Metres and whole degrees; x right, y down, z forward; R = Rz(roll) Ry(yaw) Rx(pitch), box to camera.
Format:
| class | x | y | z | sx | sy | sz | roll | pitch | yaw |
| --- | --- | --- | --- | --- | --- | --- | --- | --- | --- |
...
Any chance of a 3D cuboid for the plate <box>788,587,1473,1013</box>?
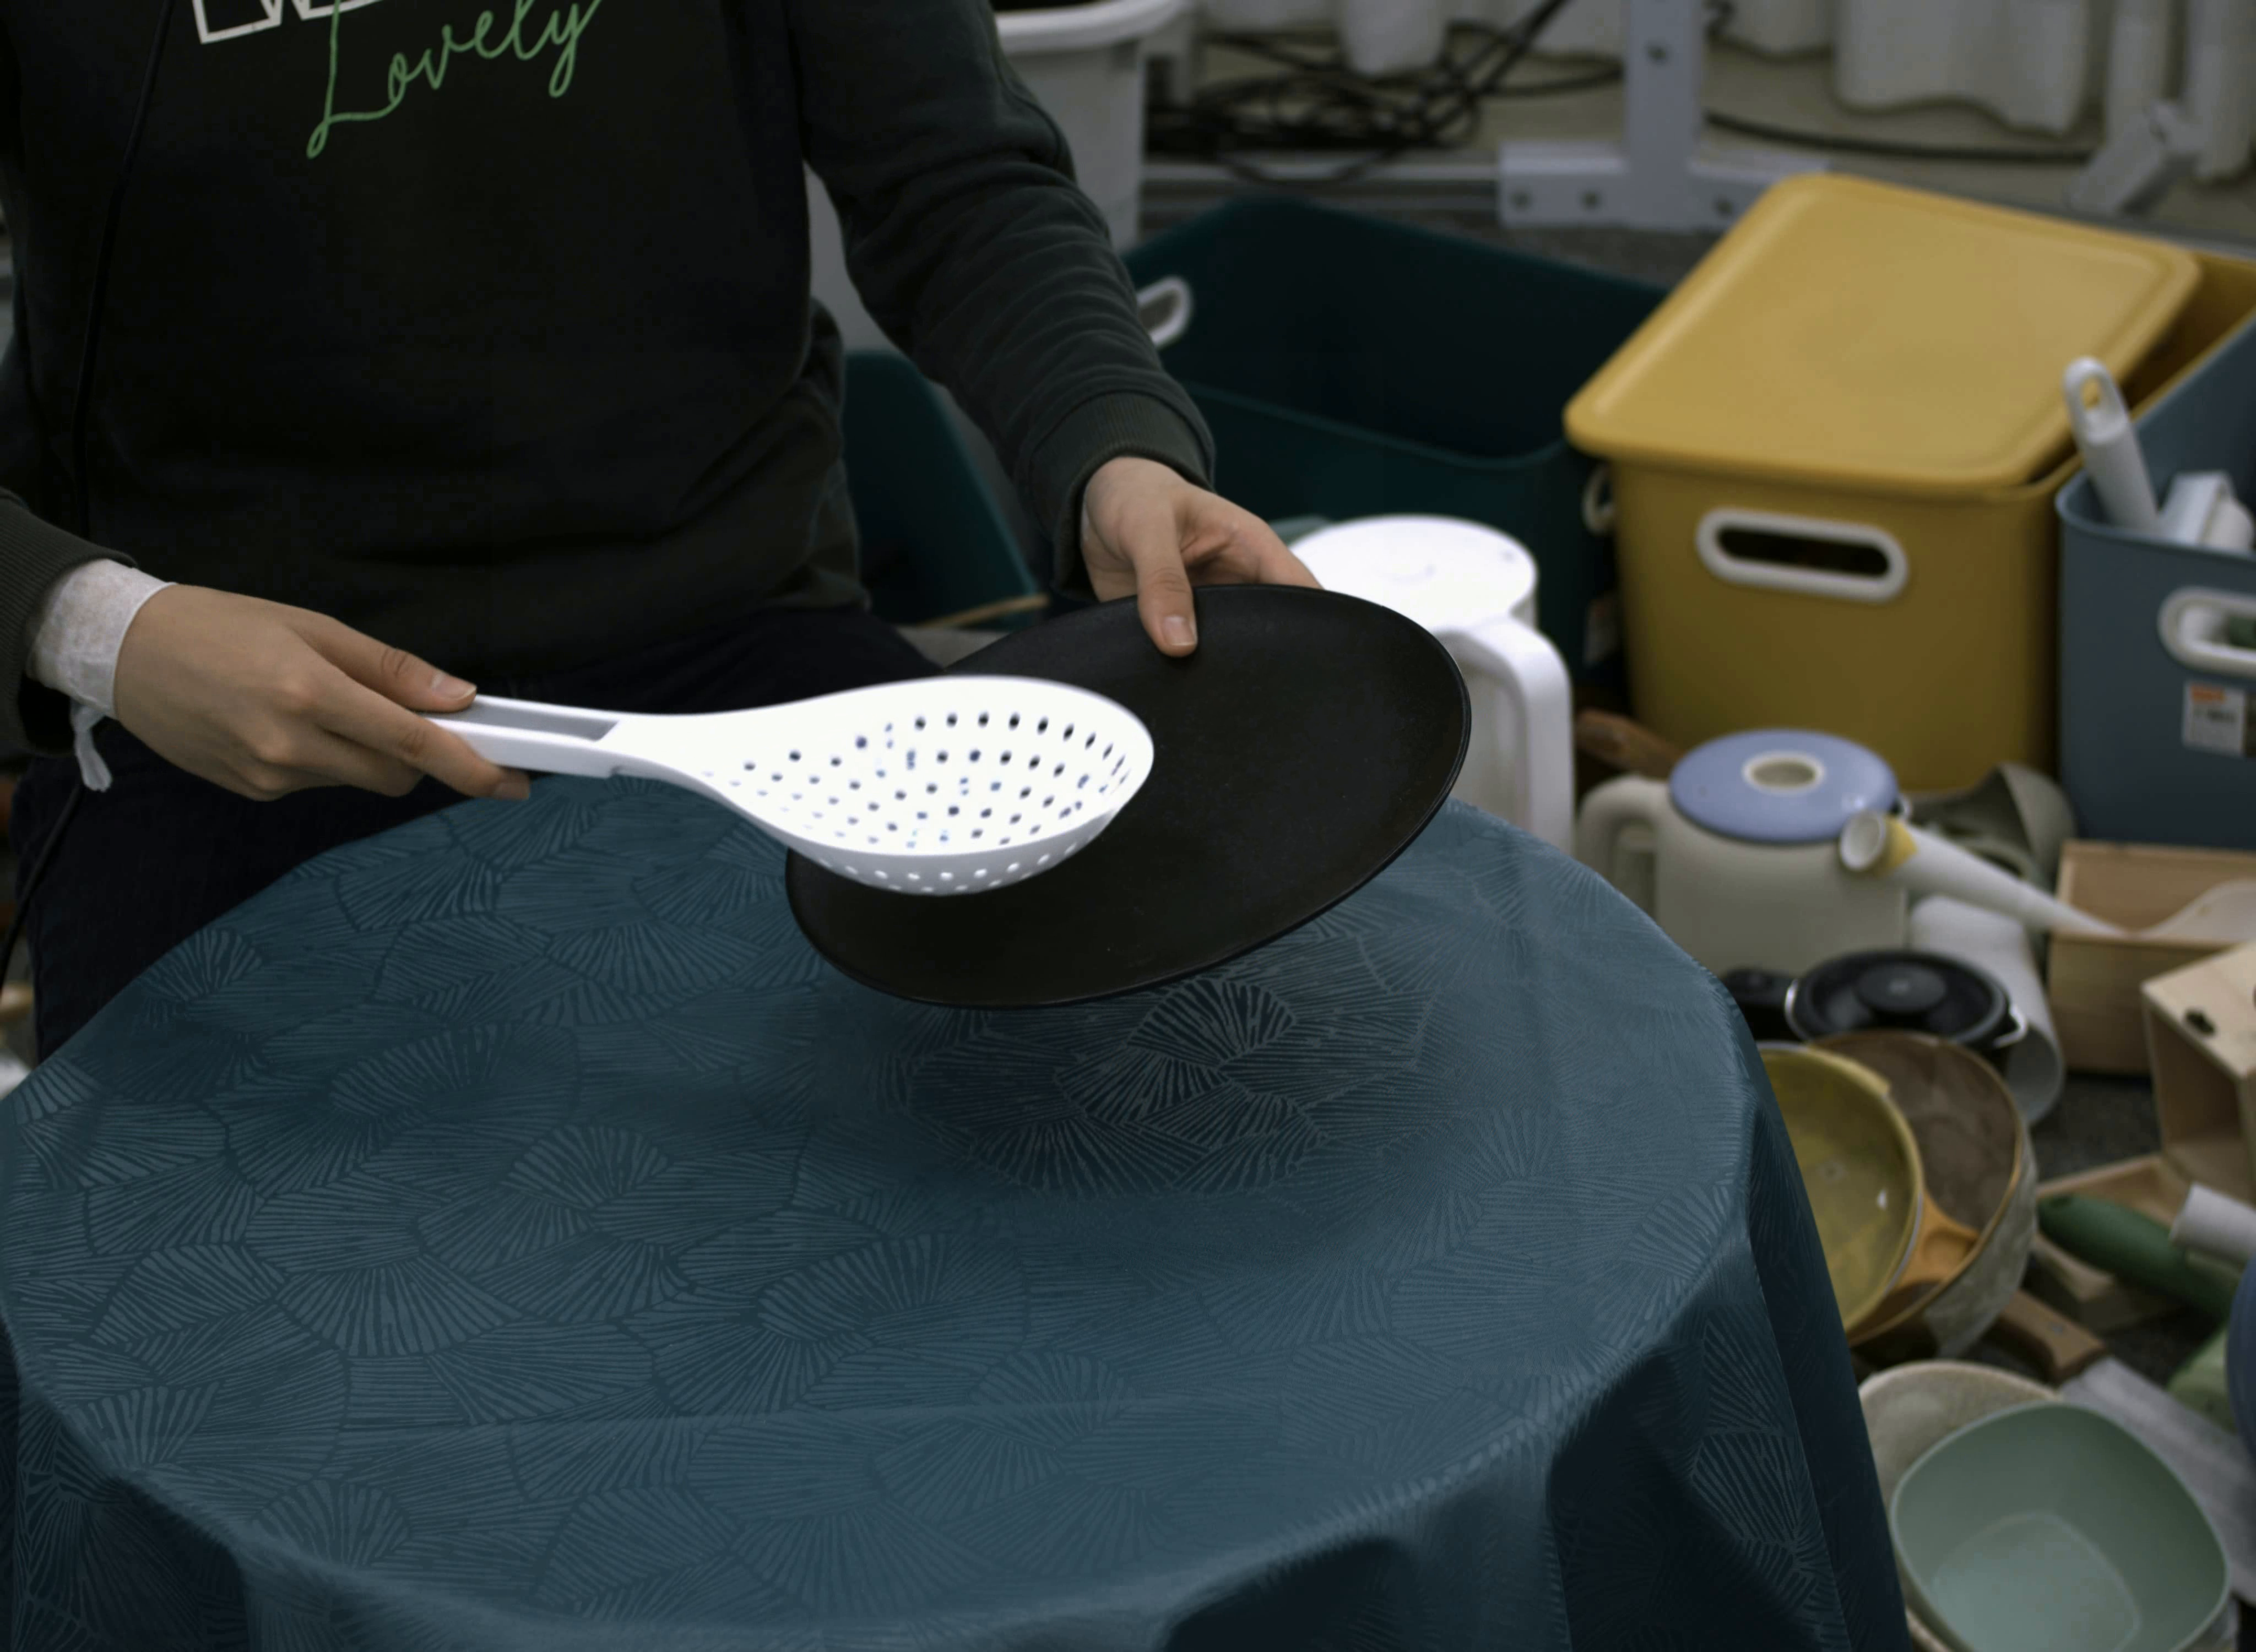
| class | x | y | z | sx | sy | sz | roll | pitch | yaw |
| --- | --- | --- | --- | --- | --- | --- | --- | --- | --- |
| plate | 0.002 | -0.006 | 1.923 | 0.242 | 0.023 | 0.248 | -12 | 32 | 8 |

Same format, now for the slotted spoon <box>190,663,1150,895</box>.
| class | x | y | z | sx | sy | sz | roll | pitch | yaw |
| --- | --- | --- | --- | --- | --- | --- | --- | --- | --- |
| slotted spoon | -0.160 | -0.025 | 1.902 | 0.348 | 0.045 | 0.138 | 11 | 26 | 18 |
